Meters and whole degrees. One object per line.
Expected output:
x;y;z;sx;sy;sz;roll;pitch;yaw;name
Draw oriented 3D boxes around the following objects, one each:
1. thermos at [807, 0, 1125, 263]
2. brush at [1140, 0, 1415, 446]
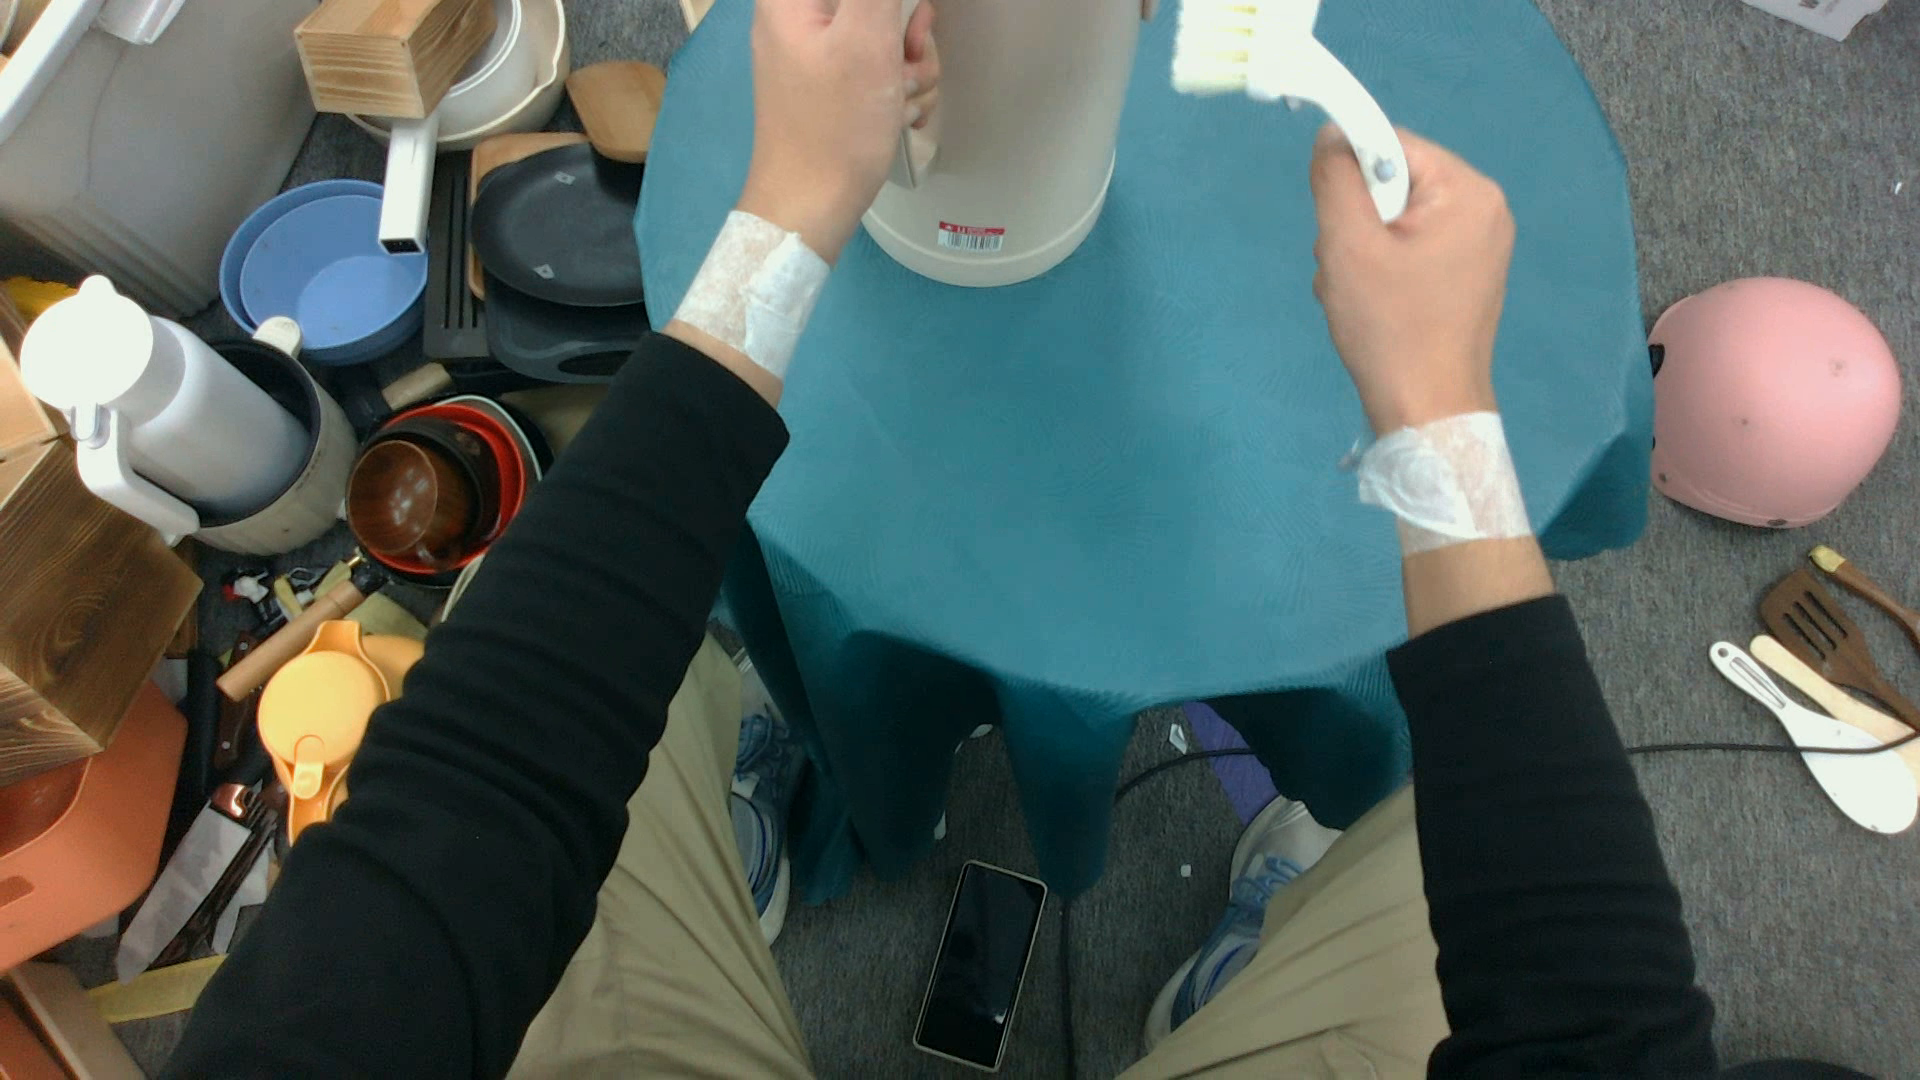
-0.004;-0.280;0.640;0.175;0.405;0.207;26;74;4;thermos
0.121;-0.165;0.557;0.083;0.324;0.085;-26;41;-6;brush
